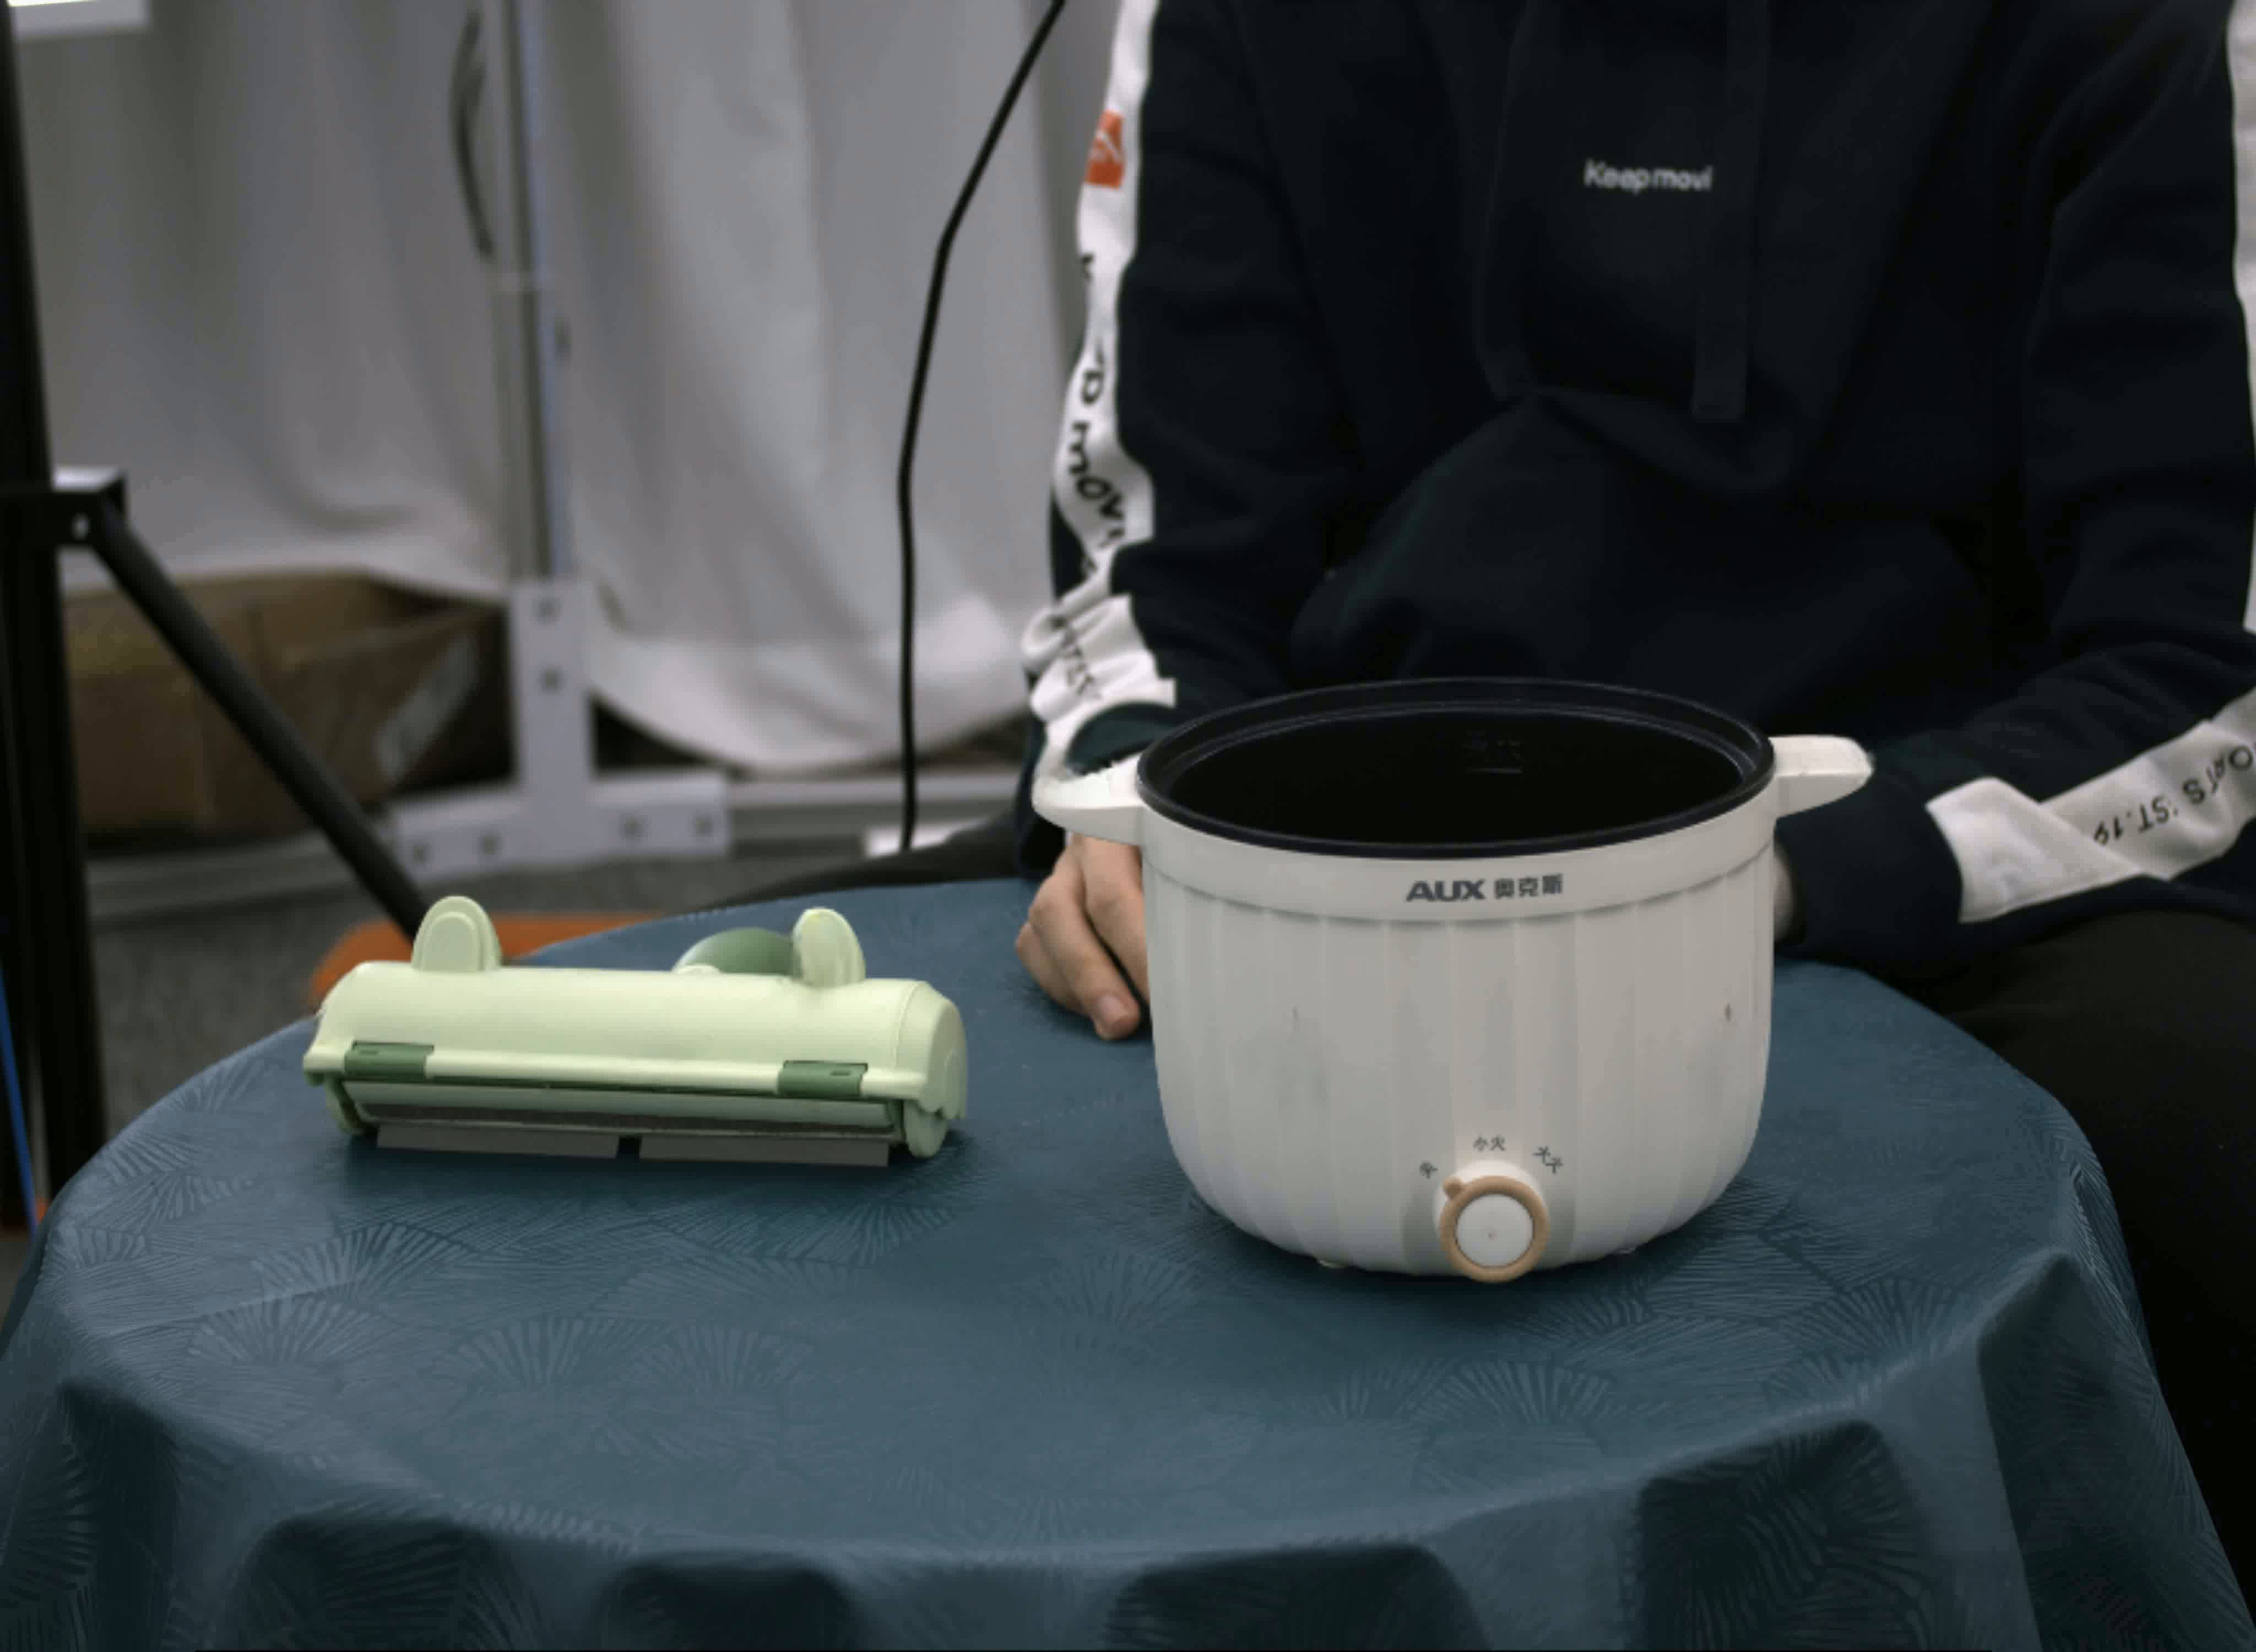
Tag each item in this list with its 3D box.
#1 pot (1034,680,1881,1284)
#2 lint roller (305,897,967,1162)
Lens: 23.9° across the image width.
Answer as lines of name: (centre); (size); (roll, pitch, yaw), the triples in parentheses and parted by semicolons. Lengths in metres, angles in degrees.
pot: (0.097, 0.047, 1.507); (0.239, 0.143, 0.191); (-4, 12, 0)
lint roller: (-0.137, 0.045, 1.666); (0.200, 0.082, 0.182); (1, 22, 15)
